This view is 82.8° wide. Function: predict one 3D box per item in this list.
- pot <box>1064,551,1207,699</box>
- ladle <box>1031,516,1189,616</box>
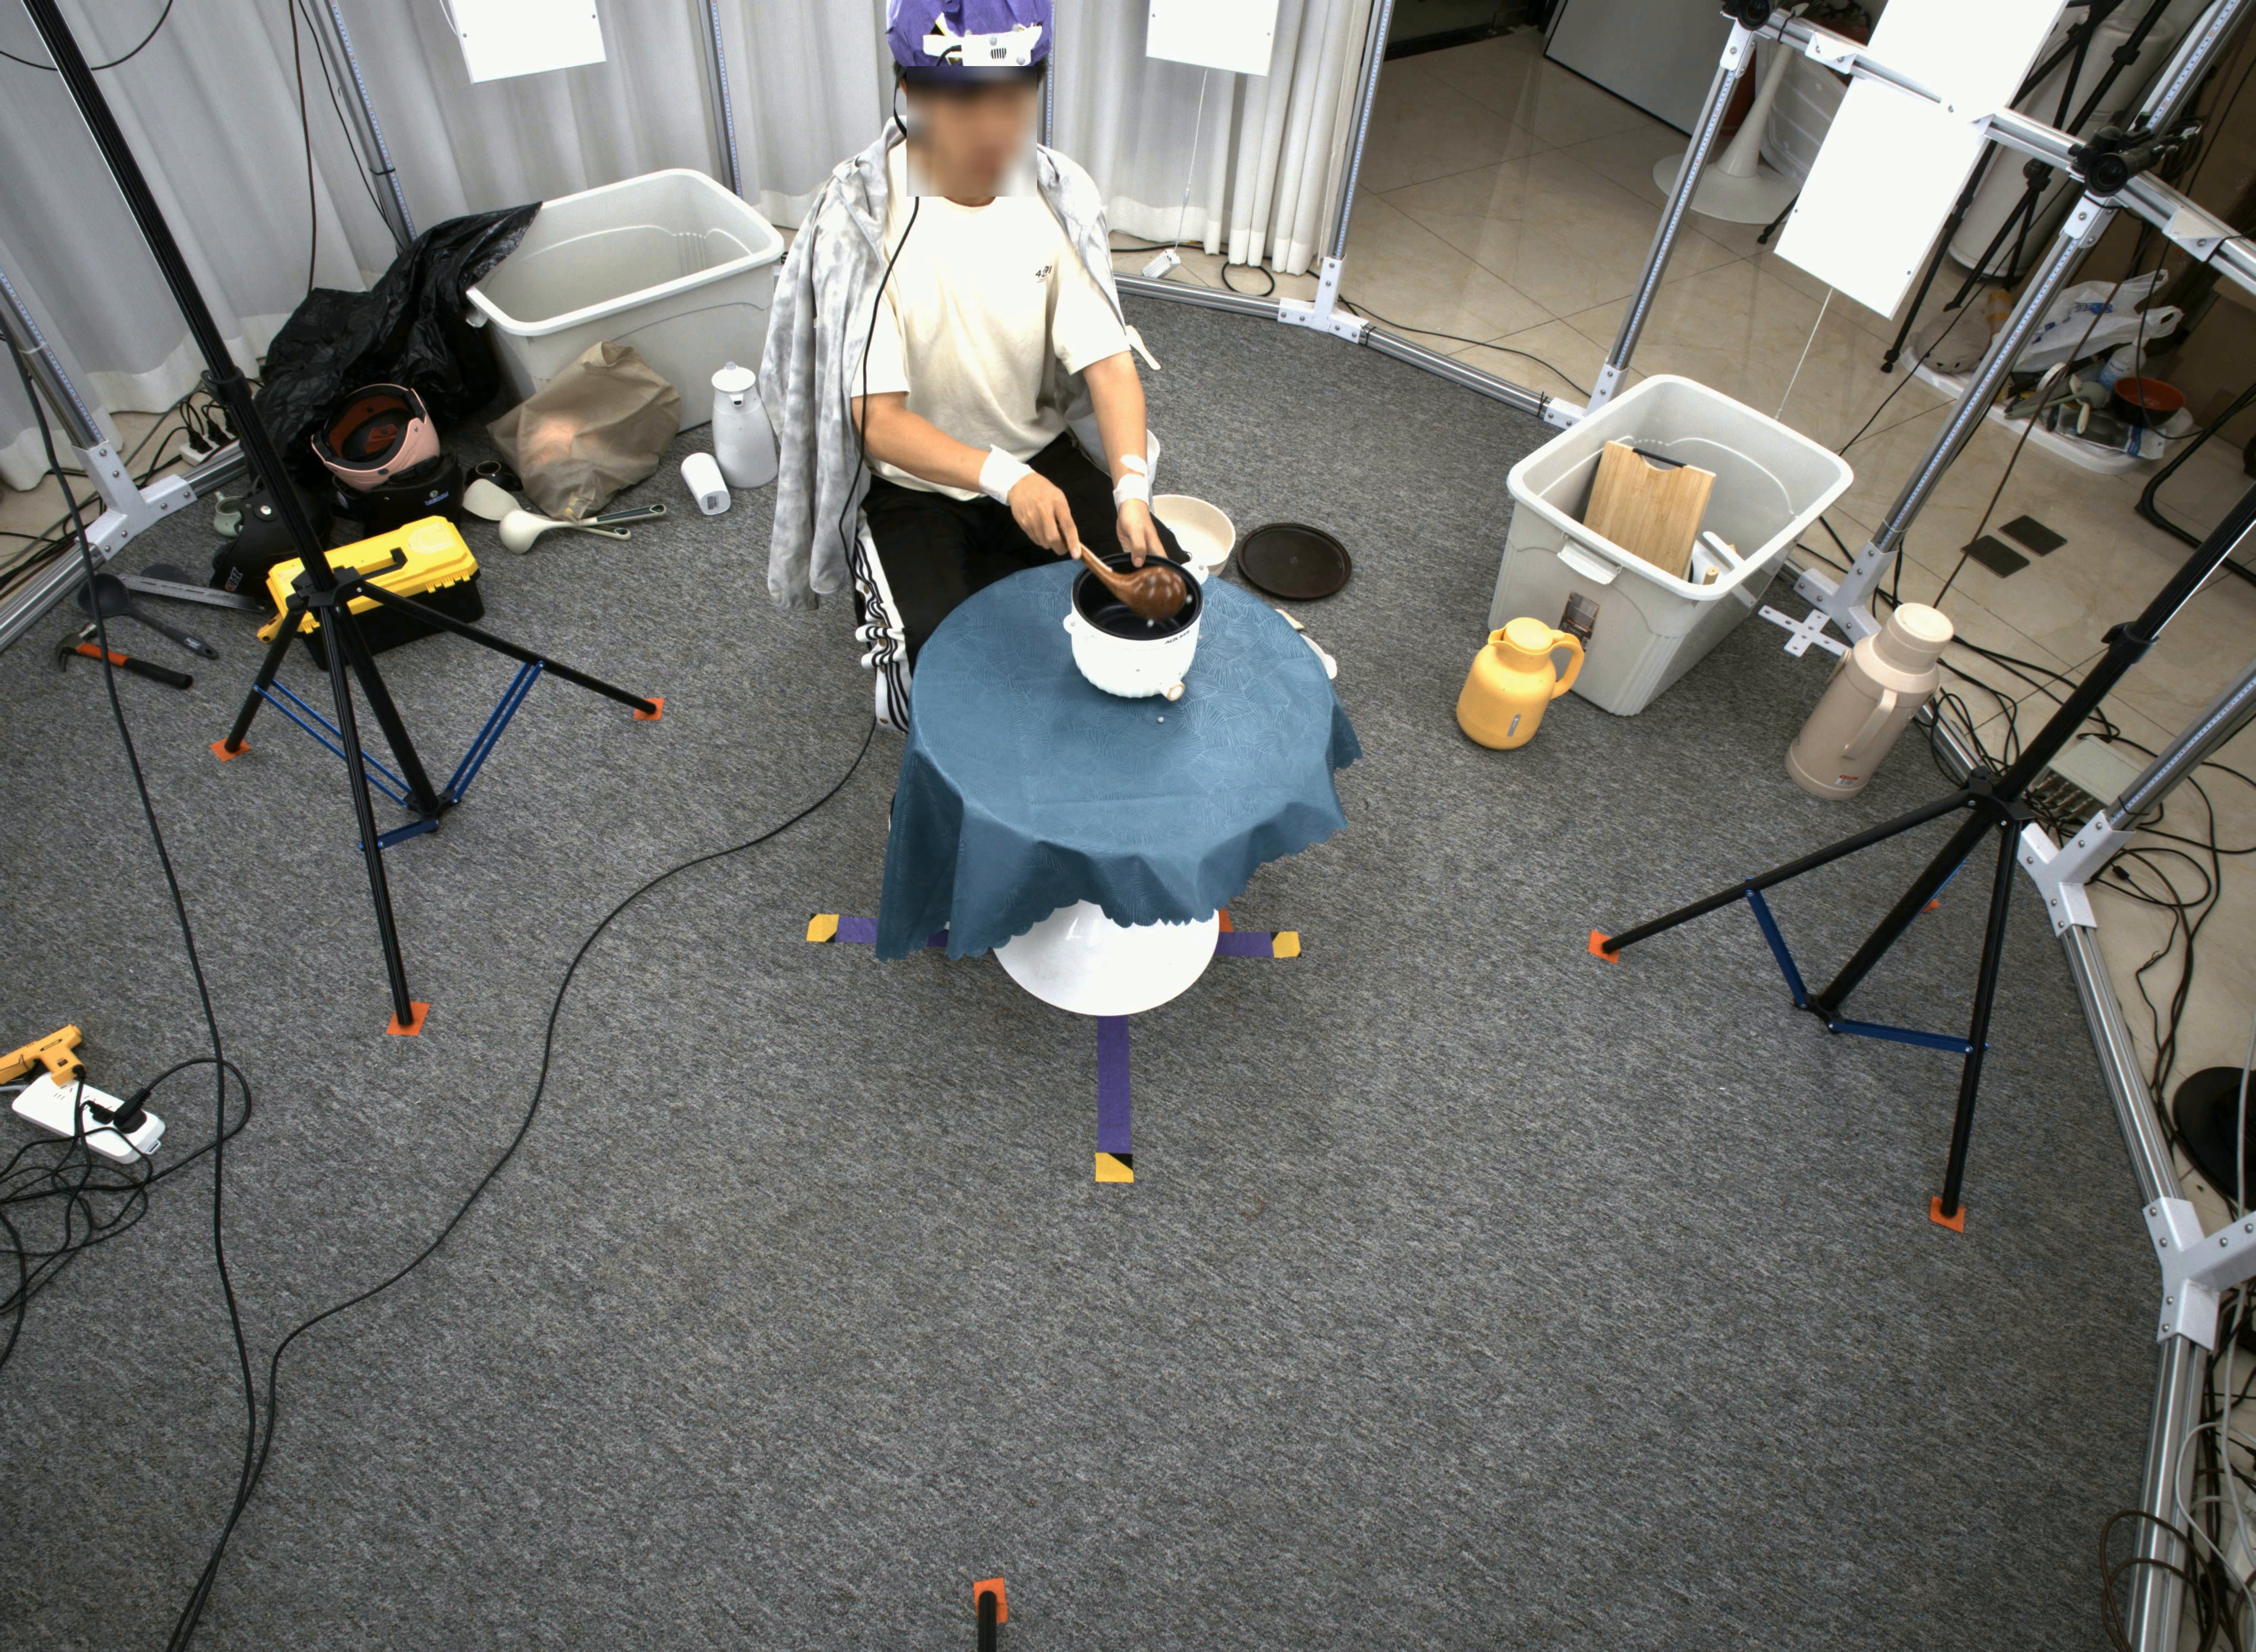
[{"bbox_3d":[0.014,-0.274,1.811,0.242,0.139,0.194,-29,53,-25],"label":"pot"},{"bbox_3d":[-0.025,-0.370,1.758,0.077,0.080,0.279,-21,45,-31],"label":"ladle"}]
